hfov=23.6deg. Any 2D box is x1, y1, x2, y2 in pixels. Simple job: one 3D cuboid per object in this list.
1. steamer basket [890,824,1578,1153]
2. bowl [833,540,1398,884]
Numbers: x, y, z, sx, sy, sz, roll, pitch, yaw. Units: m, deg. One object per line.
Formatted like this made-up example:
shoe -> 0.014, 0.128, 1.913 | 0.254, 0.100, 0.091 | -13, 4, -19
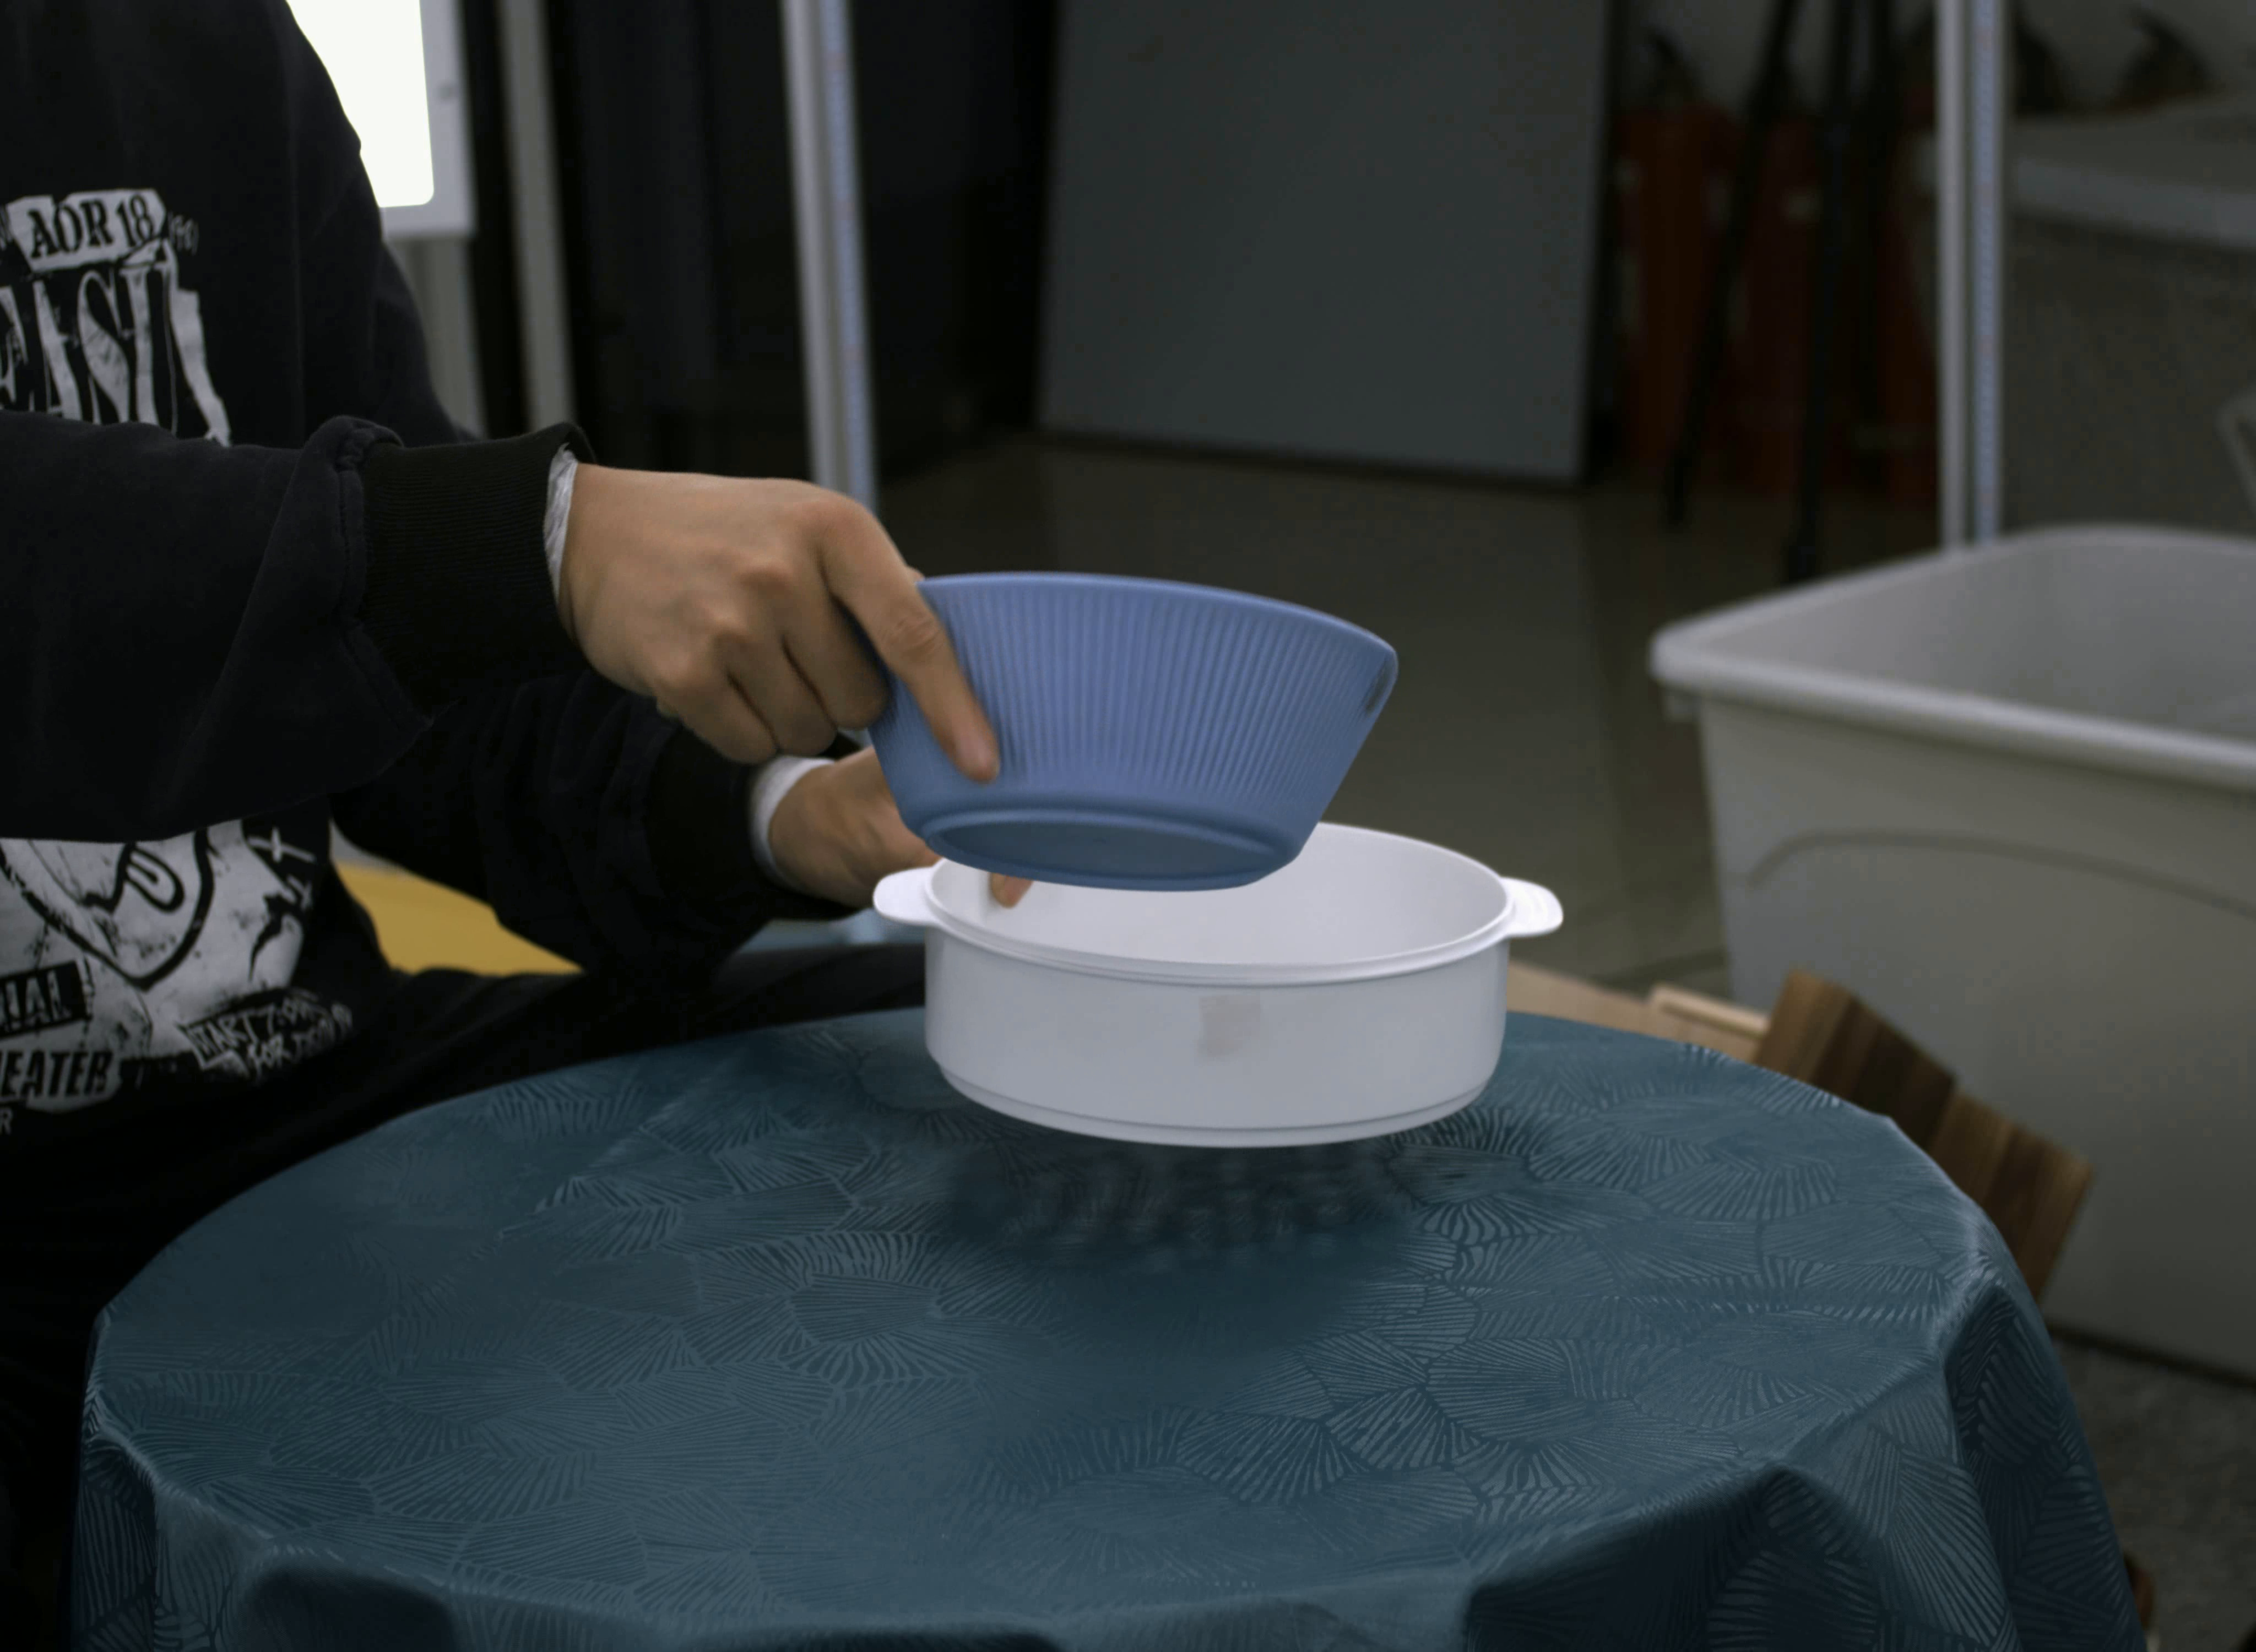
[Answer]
steamer basket -> 0.034, 0.051, 1.788 | 0.227, 0.070, 0.202 | 3, 14, -1
bowl -> -0.006, -0.029, 1.639 | 0.174, 0.071, 0.176 | 5, -14, 0
